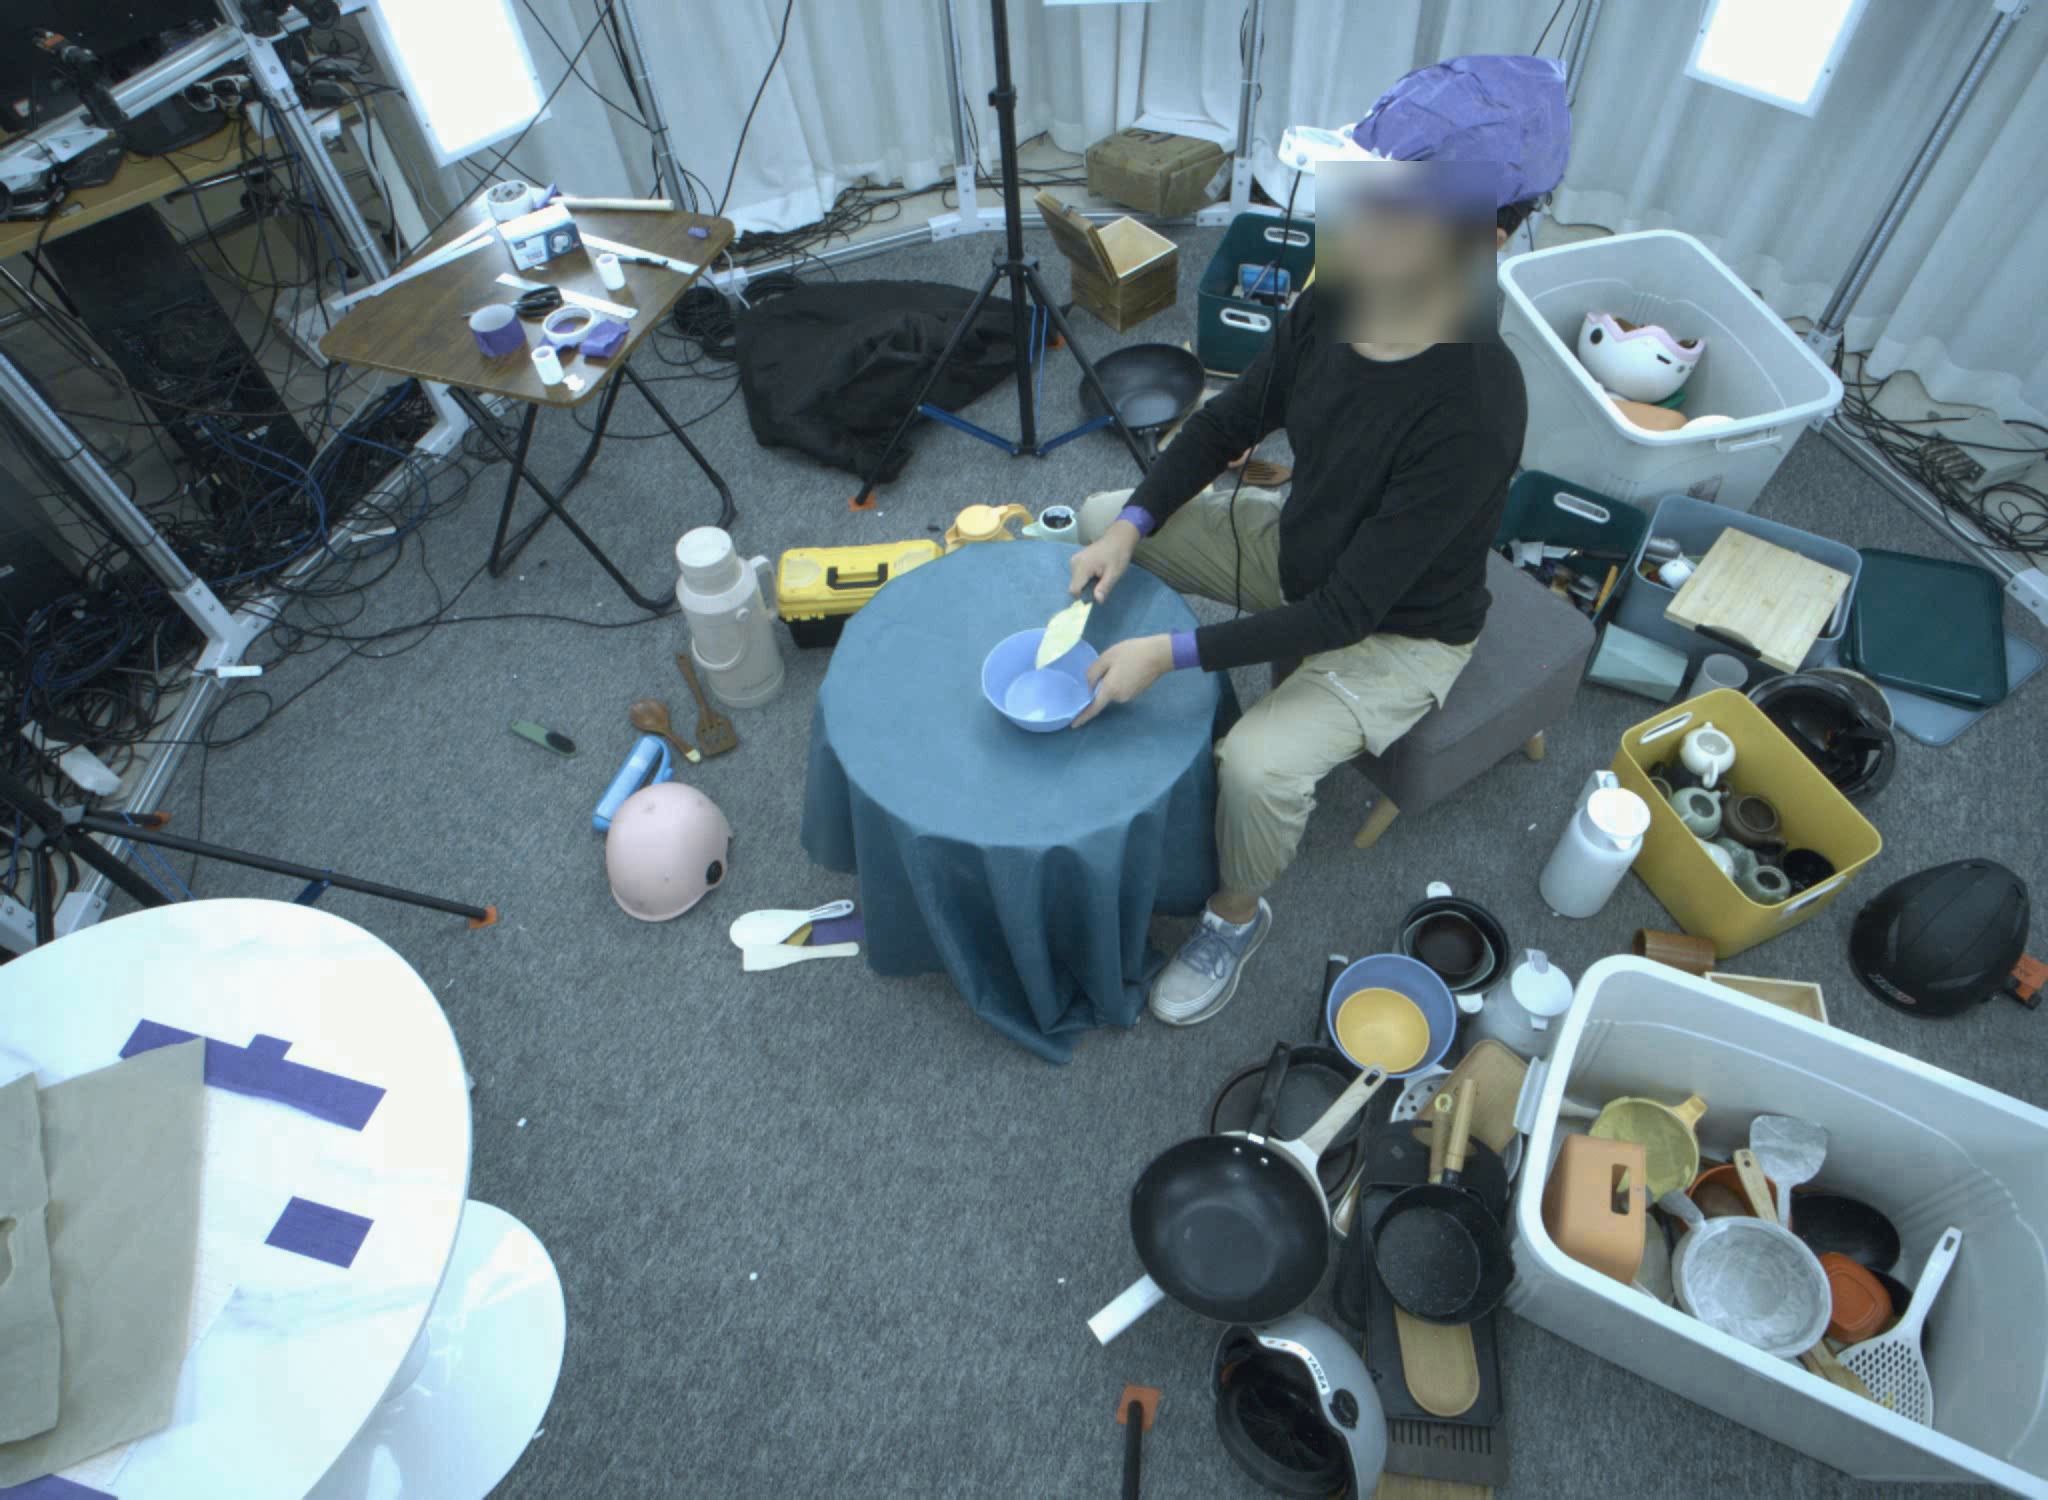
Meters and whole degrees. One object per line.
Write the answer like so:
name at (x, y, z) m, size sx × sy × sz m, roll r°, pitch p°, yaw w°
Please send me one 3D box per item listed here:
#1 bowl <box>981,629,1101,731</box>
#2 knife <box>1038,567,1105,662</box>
bowl at (0.026, -0.093, 1.807) m, size 0.176 × 0.071 × 0.174 m, roll -1°, pitch 54°, yaw 2°
knife at (0.072, -0.201, 1.828) m, size 0.080 × 0.027 × 0.289 m, roll -15°, pitch 27°, yaw 26°
